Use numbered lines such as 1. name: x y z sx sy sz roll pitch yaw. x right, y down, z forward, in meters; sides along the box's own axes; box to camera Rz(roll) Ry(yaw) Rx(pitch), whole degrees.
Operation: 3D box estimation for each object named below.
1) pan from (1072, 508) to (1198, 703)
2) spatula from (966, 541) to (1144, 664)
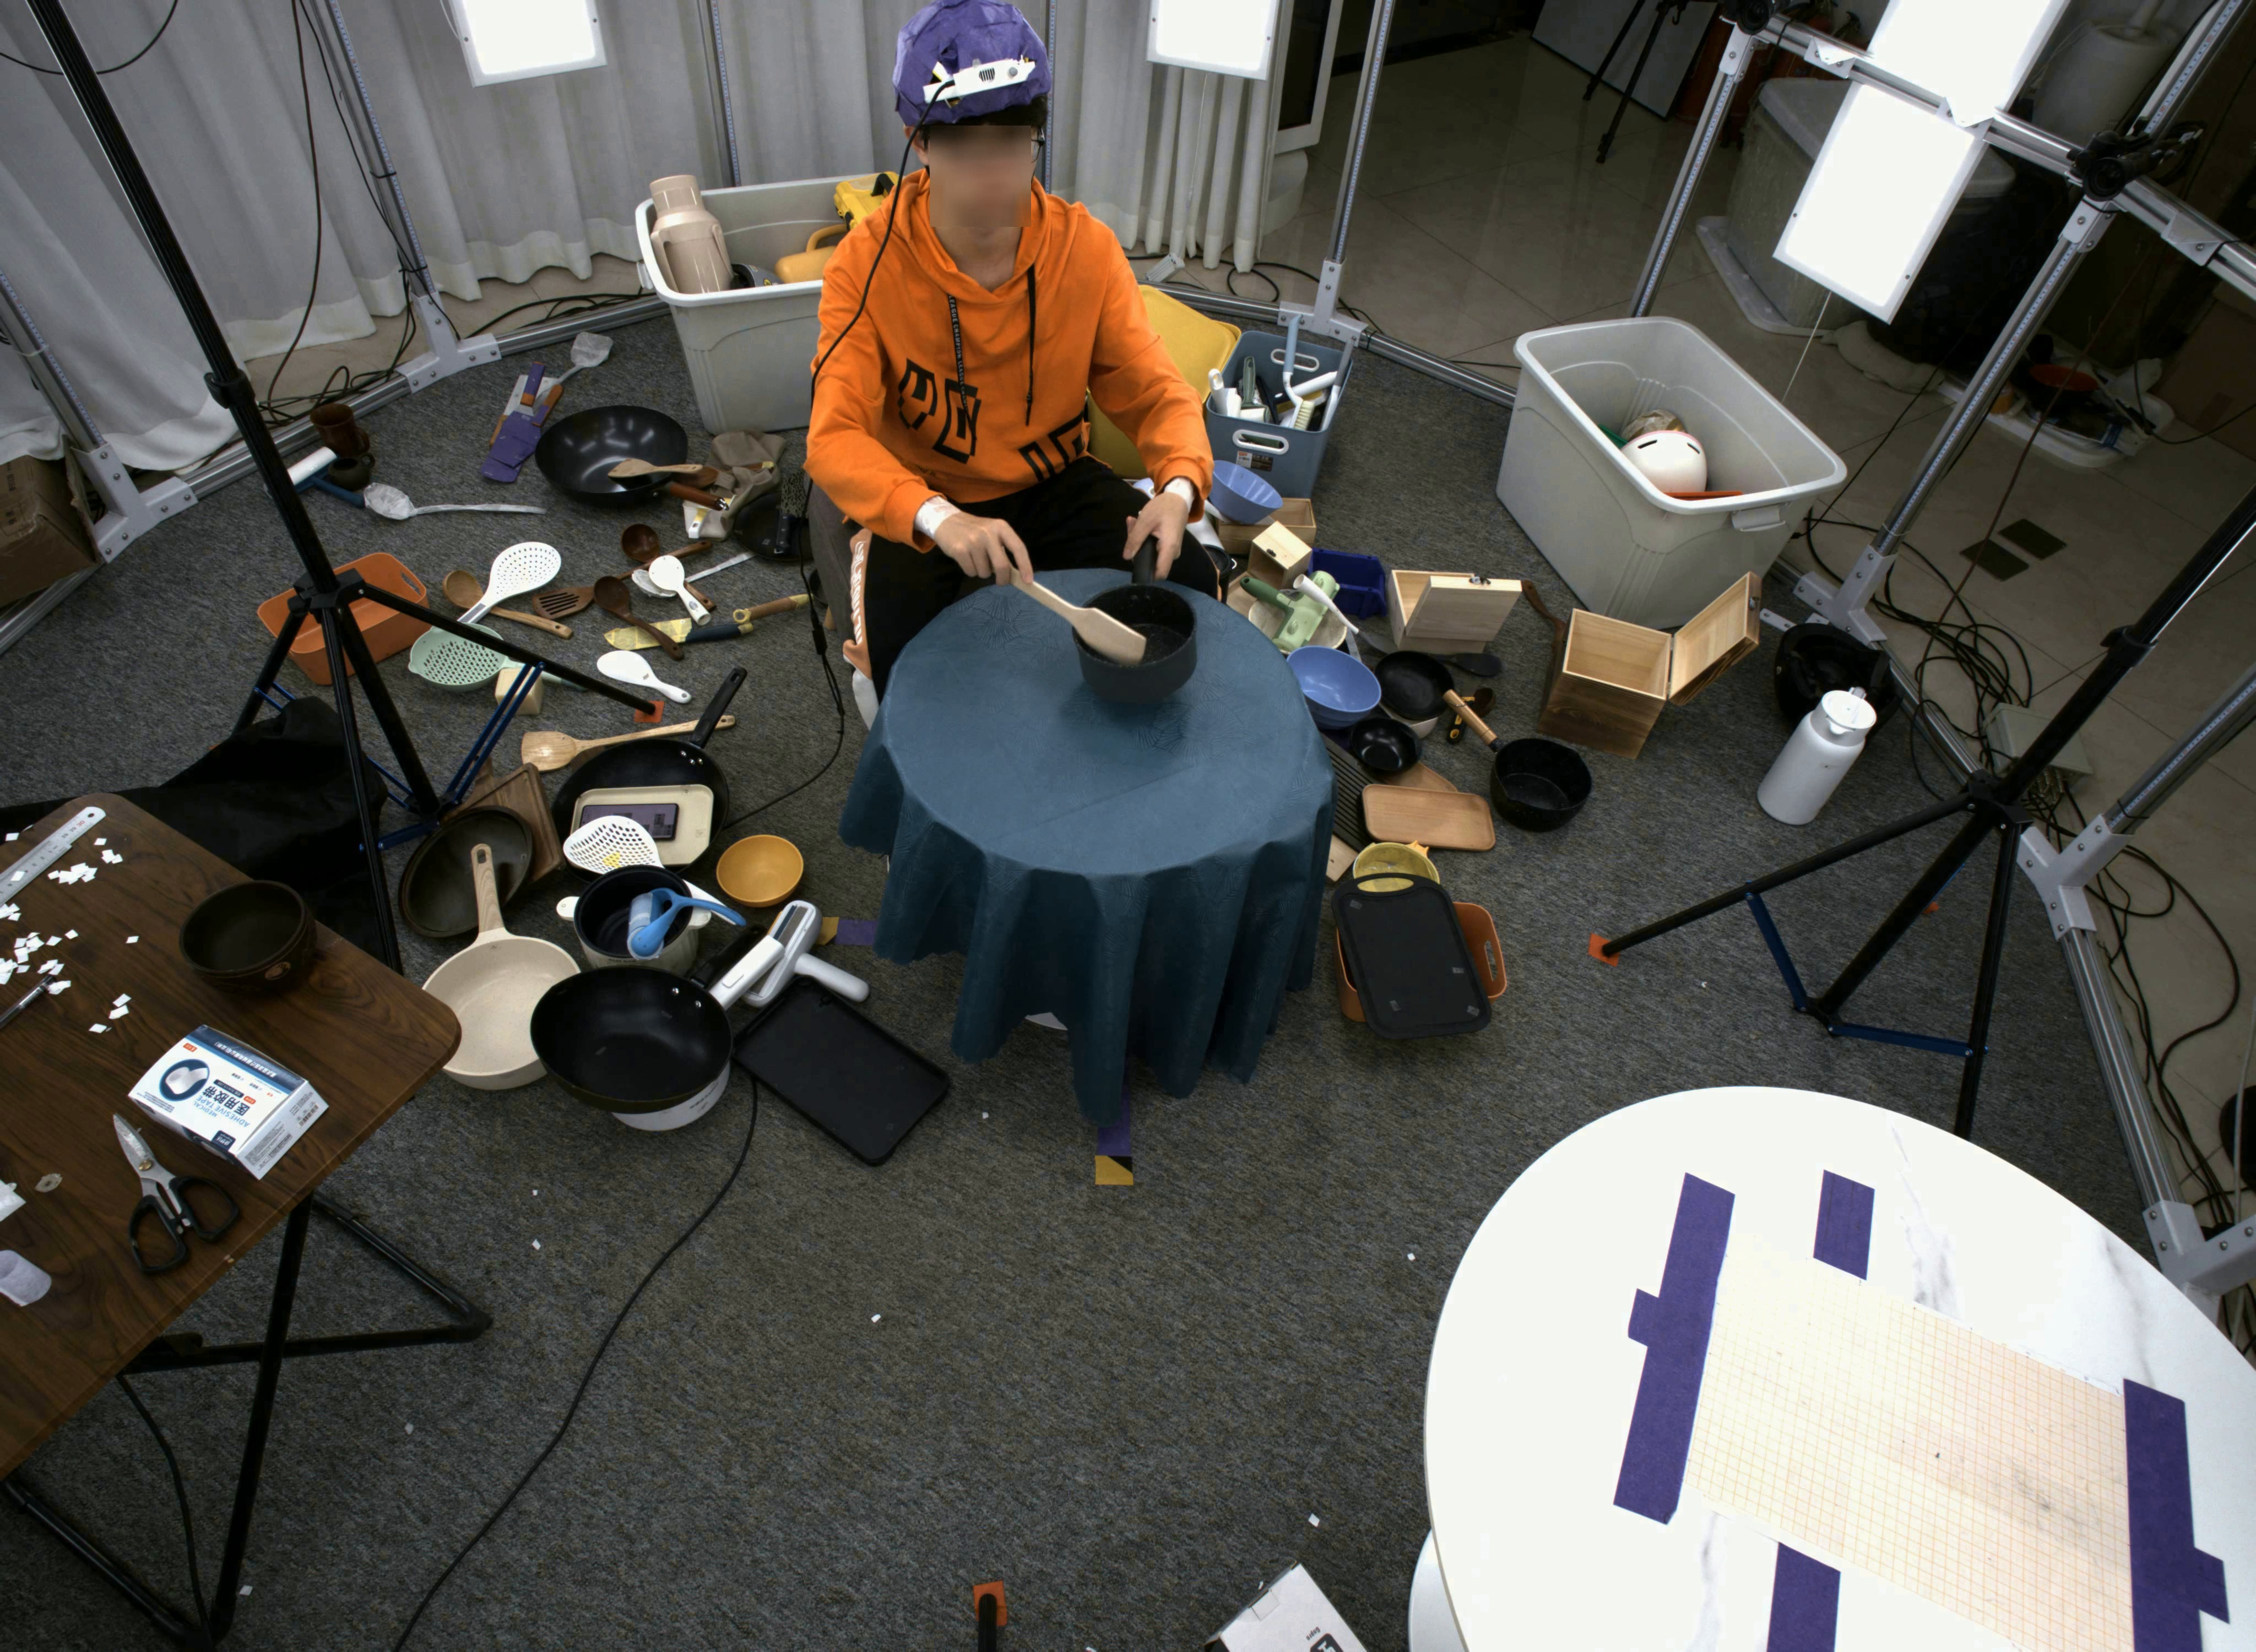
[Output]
1. pan: 0.023 -0.315 1.825 0.172 0.084 0.336 3 51 9
2. spatula: -0.102 -0.307 1.739 0.295 0.071 0.011 33 58 14
